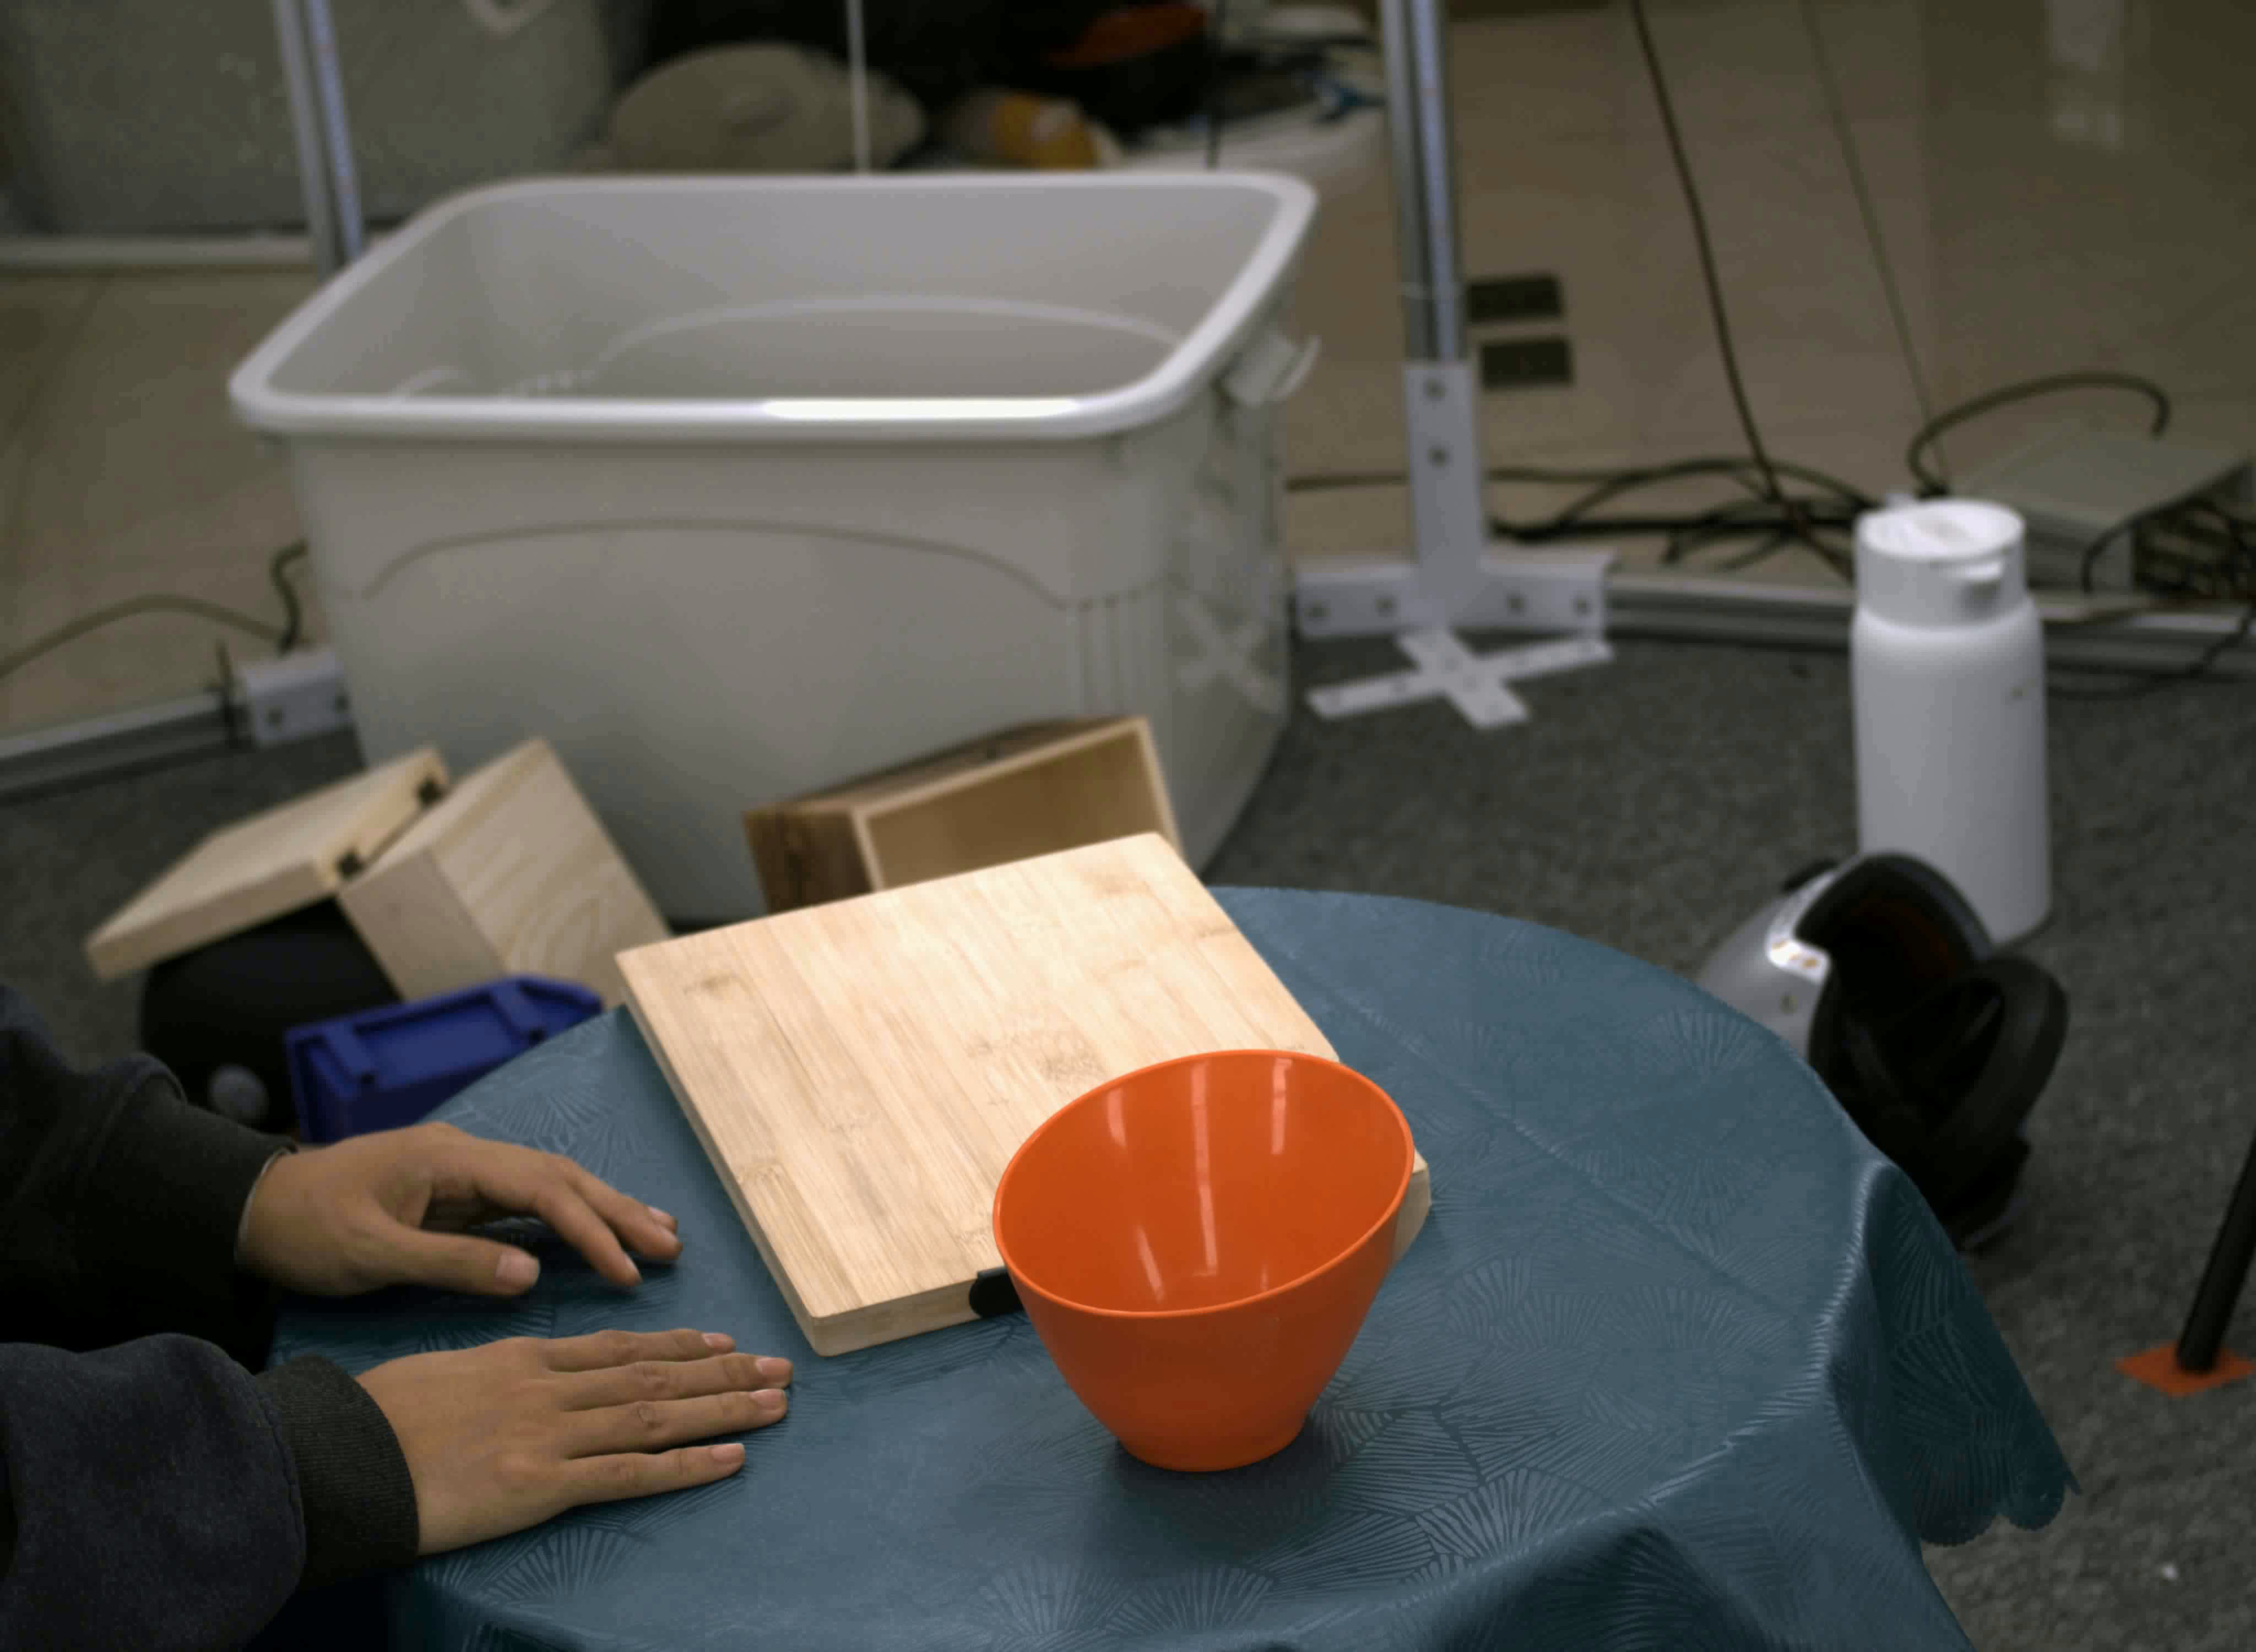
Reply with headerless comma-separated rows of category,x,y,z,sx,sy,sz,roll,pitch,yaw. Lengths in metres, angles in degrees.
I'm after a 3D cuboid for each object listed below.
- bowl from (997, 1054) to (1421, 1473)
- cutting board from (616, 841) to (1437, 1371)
bowl,0.031,0.159,1.974,0.148,0.106,0.146,-4,26,2
cutting board,-0.048,0.101,2.222,0.250,0.024,0.344,-14,26,-13
